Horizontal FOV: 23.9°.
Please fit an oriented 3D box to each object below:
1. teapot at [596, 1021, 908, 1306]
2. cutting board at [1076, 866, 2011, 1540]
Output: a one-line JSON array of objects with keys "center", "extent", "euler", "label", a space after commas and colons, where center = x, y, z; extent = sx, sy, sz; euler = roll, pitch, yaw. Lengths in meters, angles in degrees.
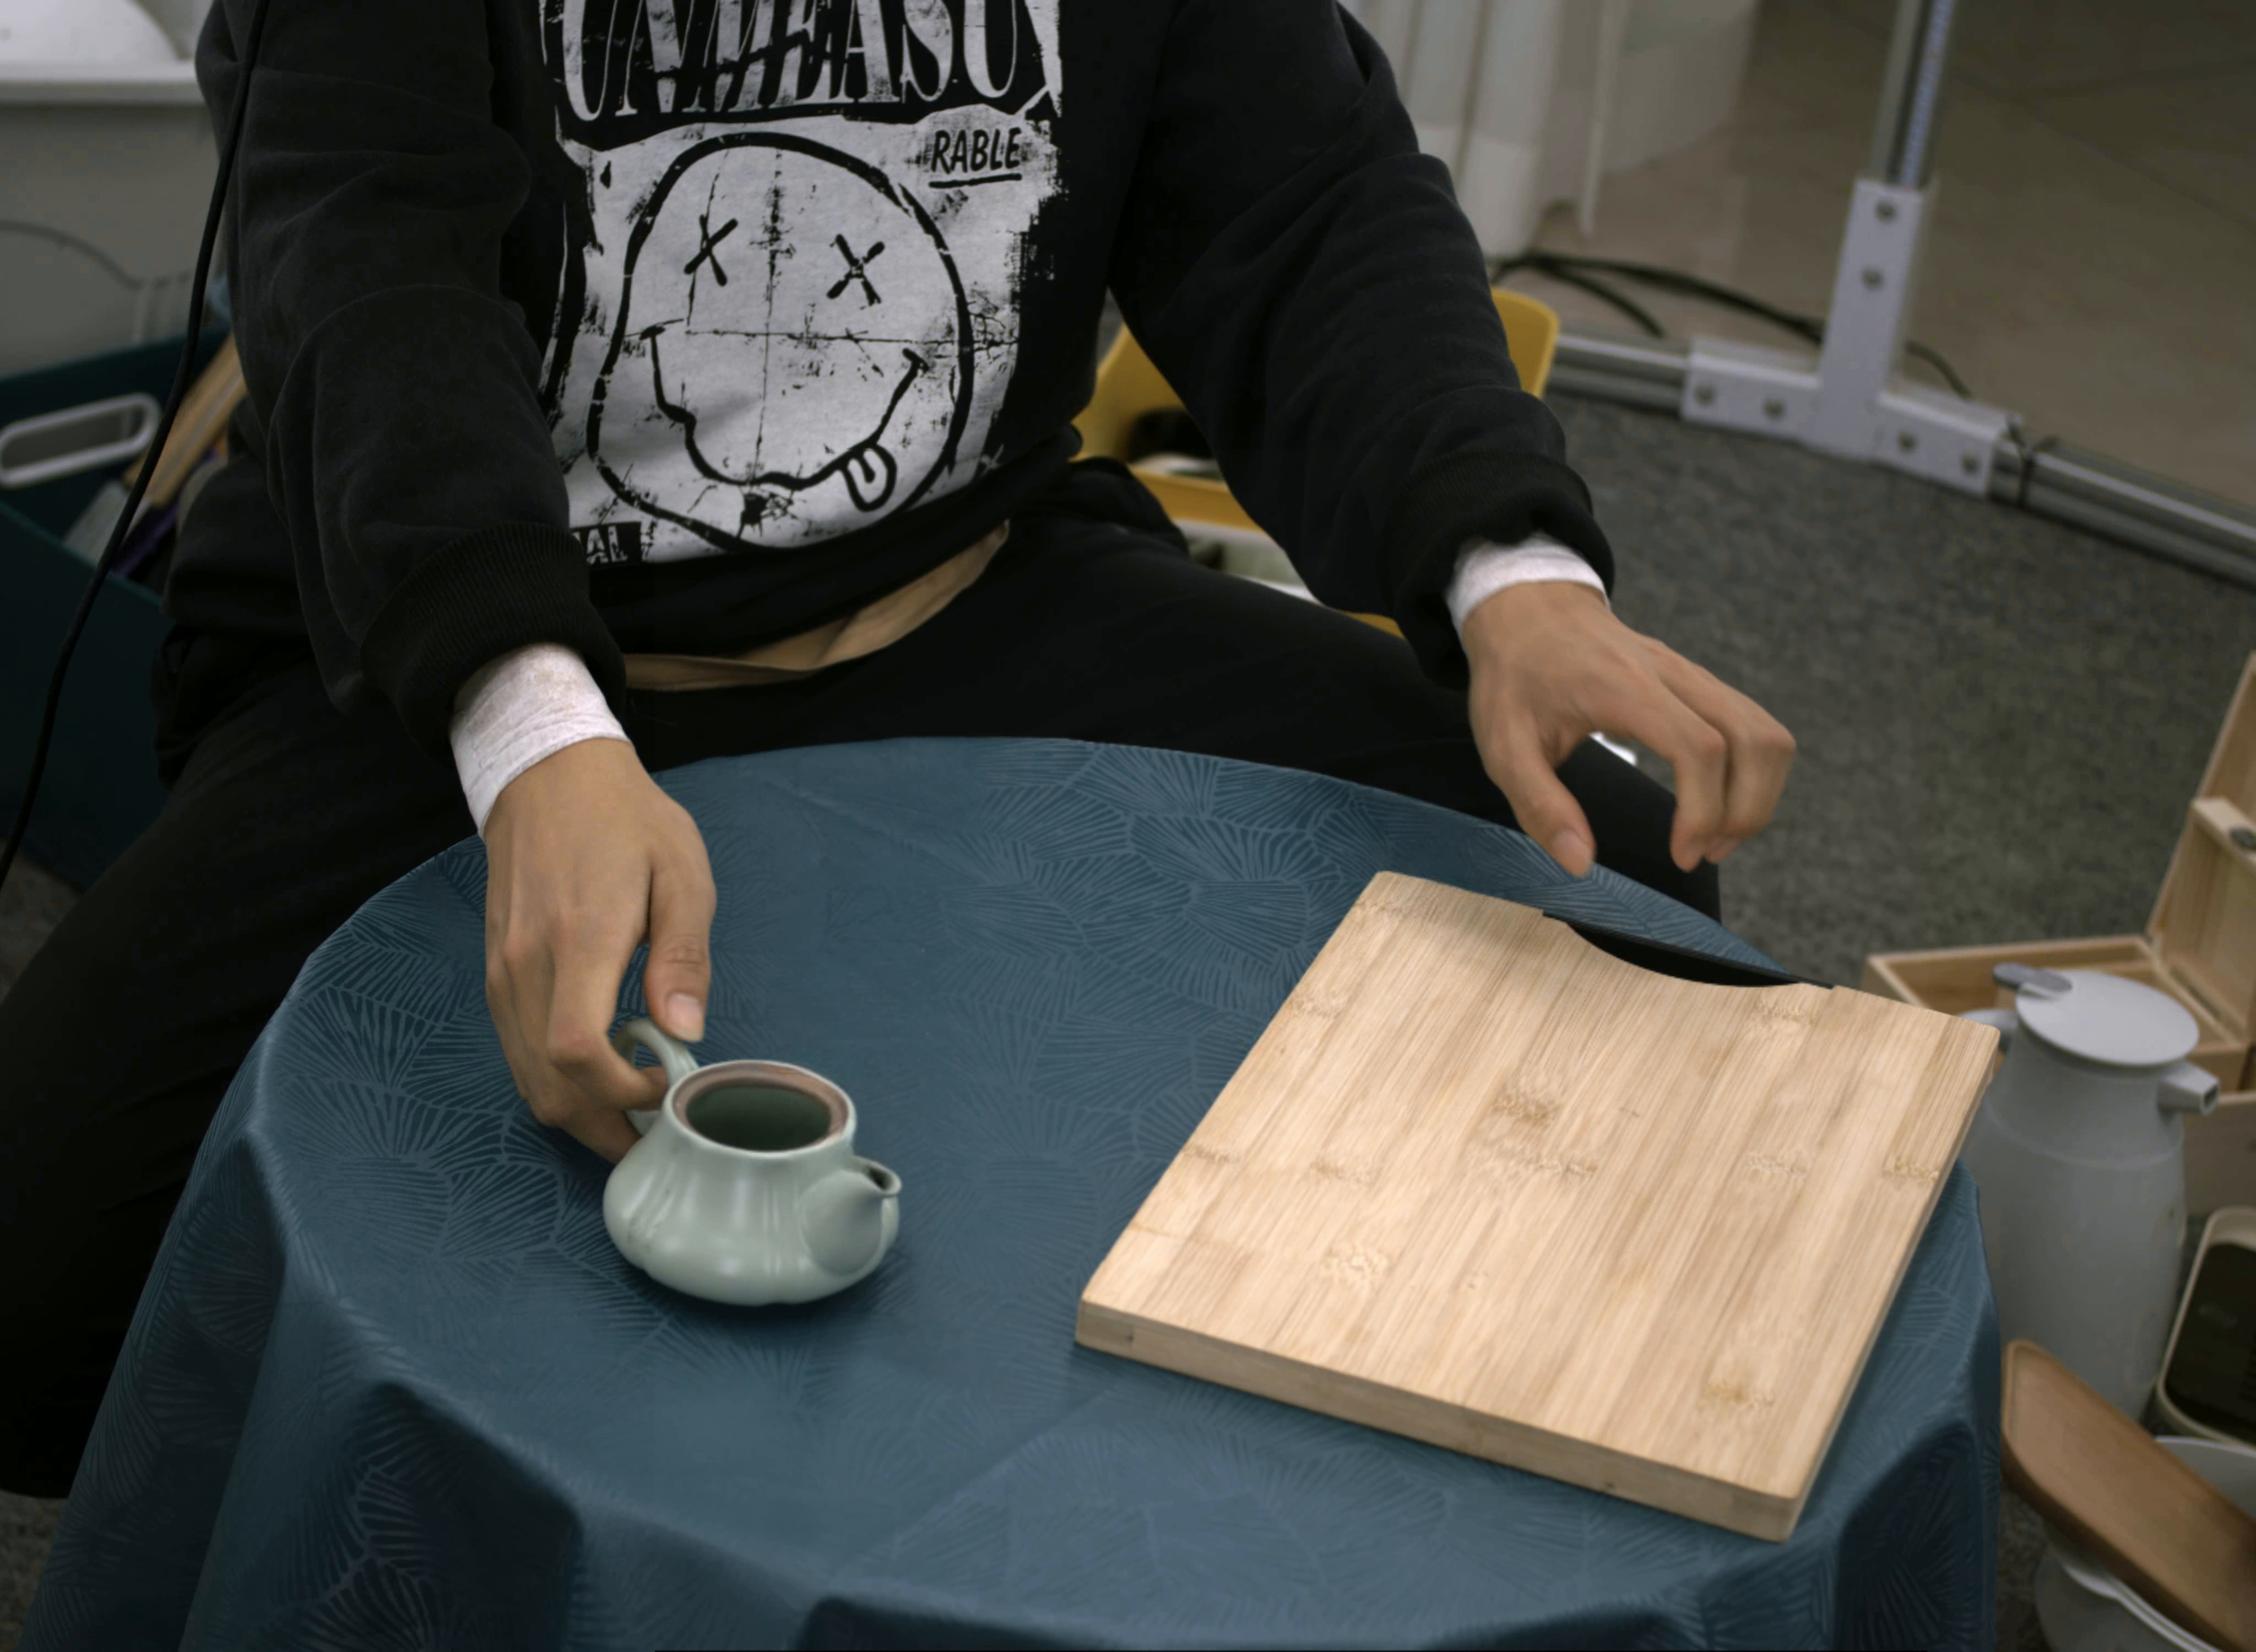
[{"center": [-0.125, 0.112, 1.734], "extent": [0.138, 0.061, 0.096], "euler": [28, 35, 35], "label": "teapot"}, {"center": [0.152, 0.119, 1.831], "extent": [0.251, 0.023, 0.349], "euler": [14, 28, 14], "label": "cutting board"}]
